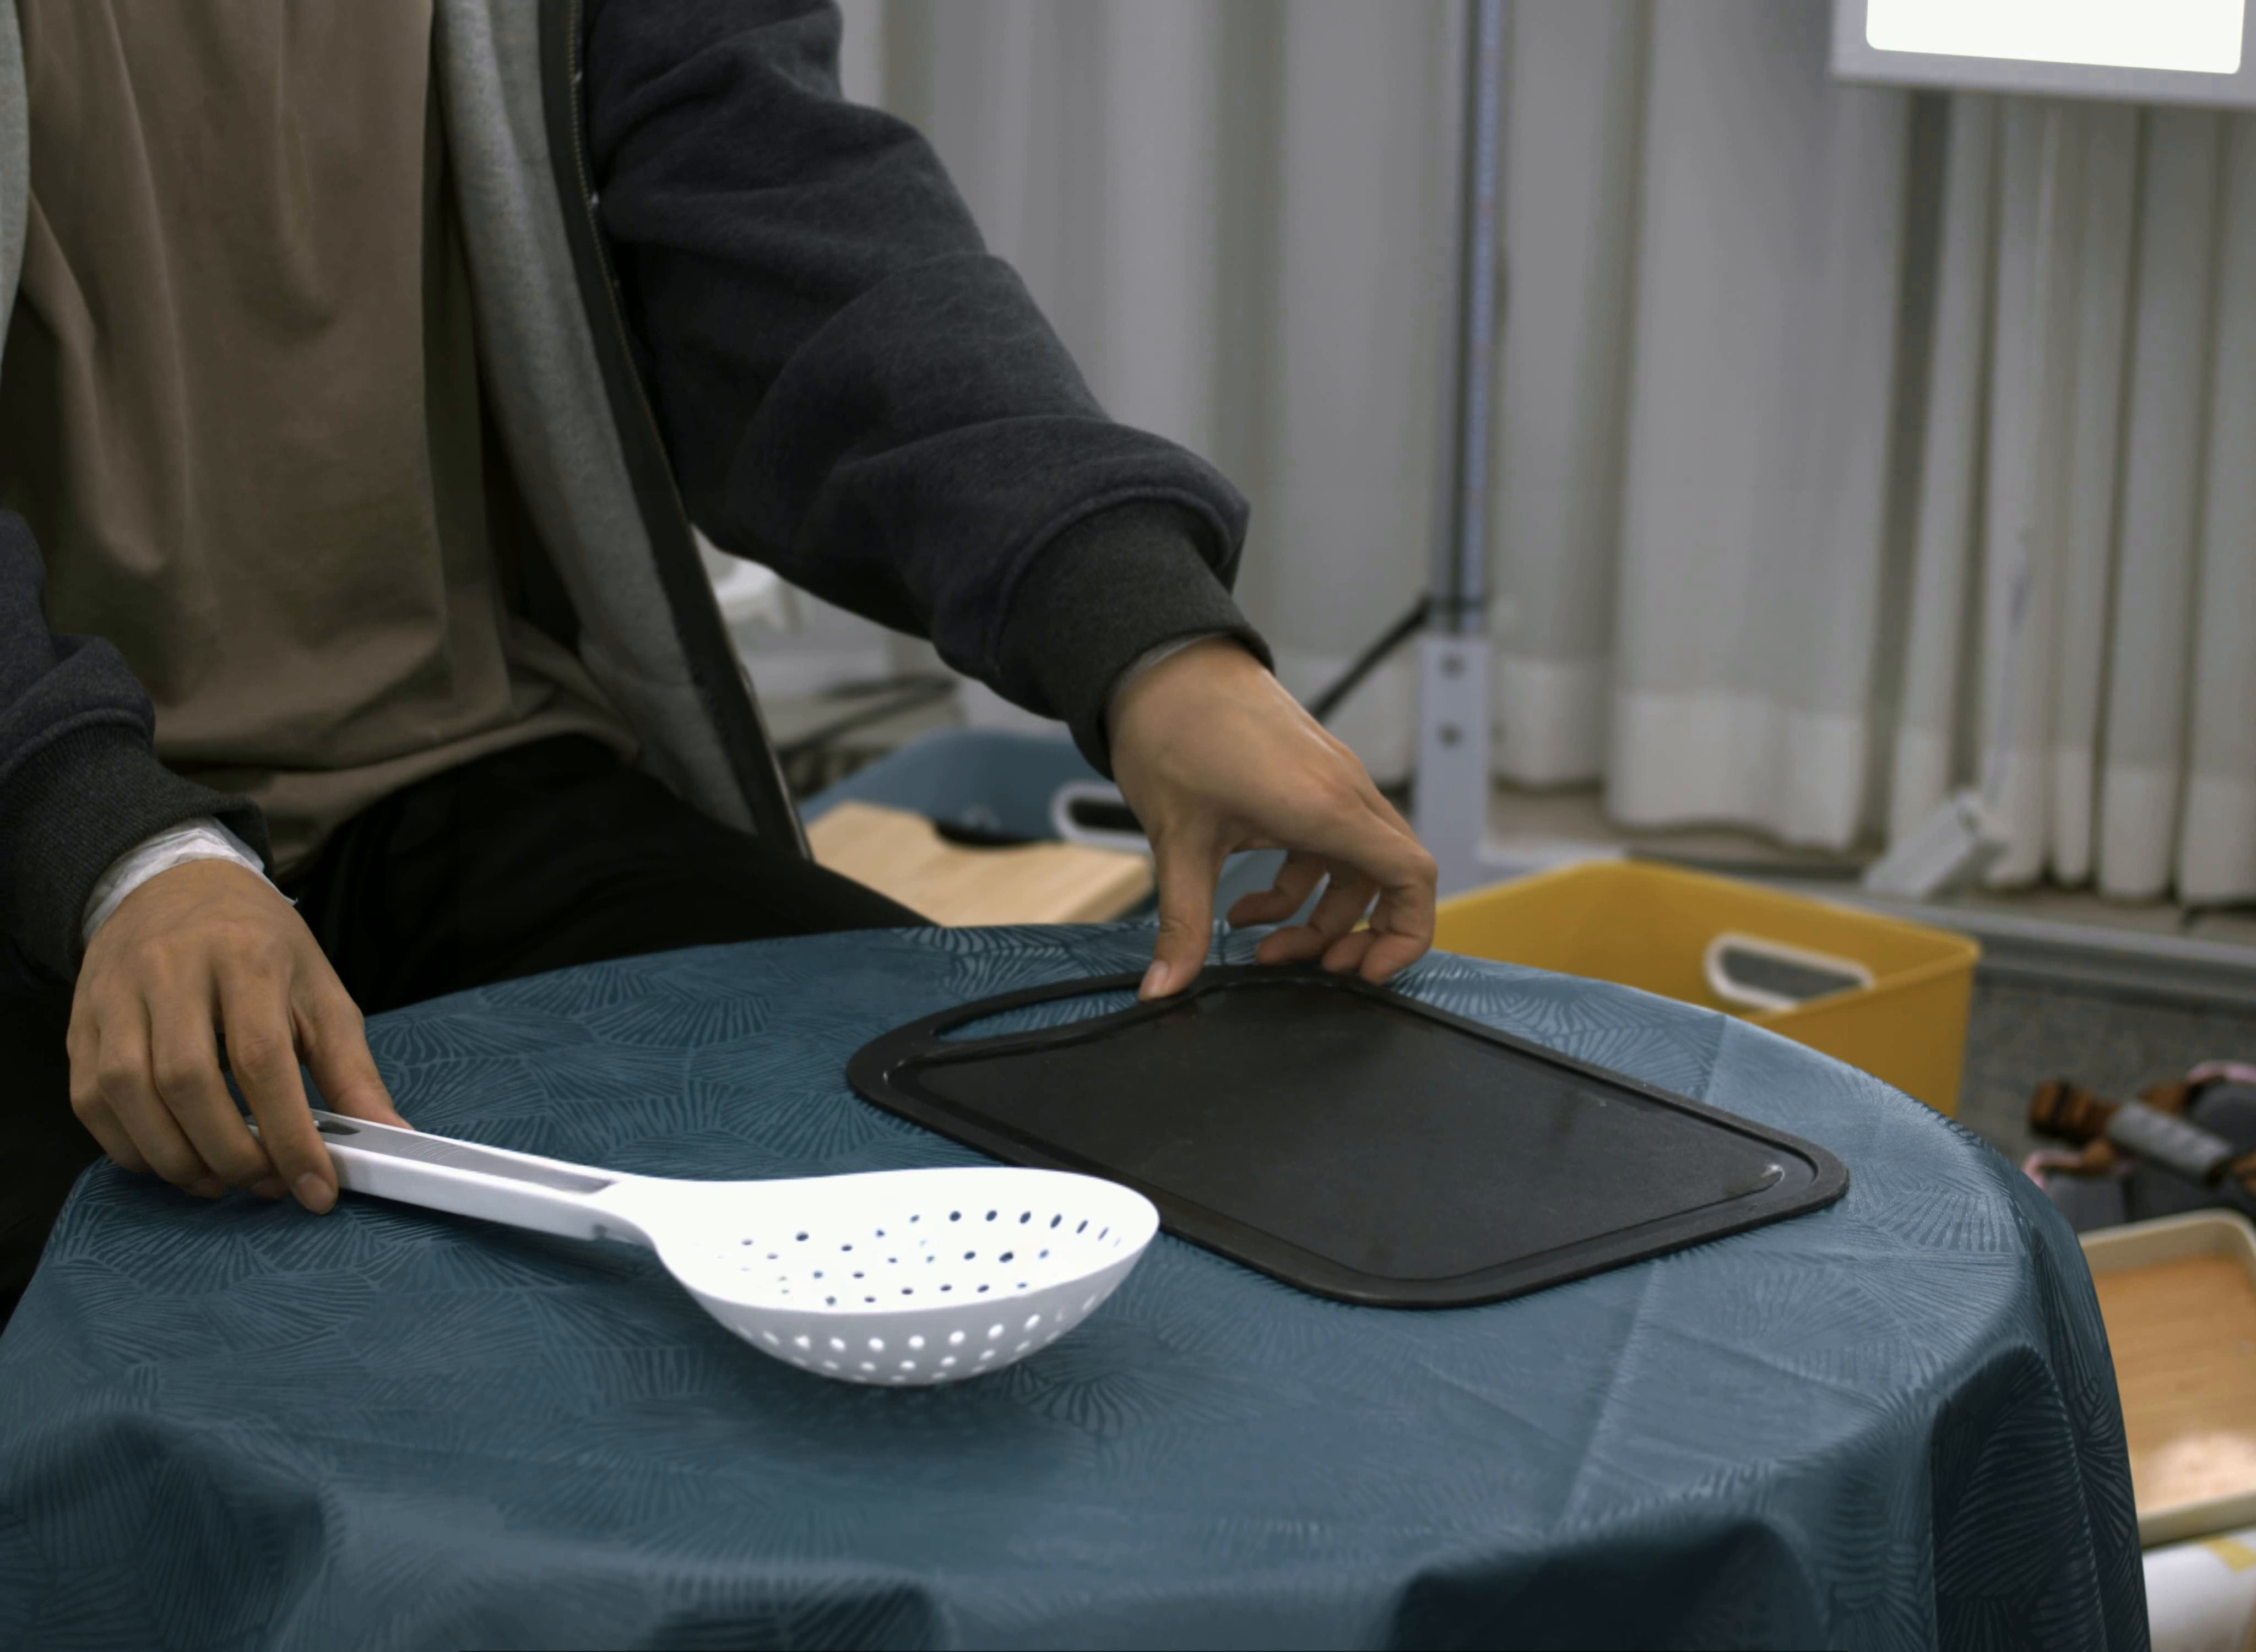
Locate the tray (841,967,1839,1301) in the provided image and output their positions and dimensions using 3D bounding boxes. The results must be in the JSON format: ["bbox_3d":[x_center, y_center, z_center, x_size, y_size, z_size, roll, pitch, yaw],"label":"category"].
[{"bbox_3d":[0.057,0.091,1.689,0.212,0.010,0.321,-11,19,-37],"label":"tray"}]

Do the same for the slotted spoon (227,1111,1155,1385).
[{"bbox_3d":[-0.141,0.112,1.532,0.345,0.046,0.136,12,19,38],"label":"slotted spoon"}]
